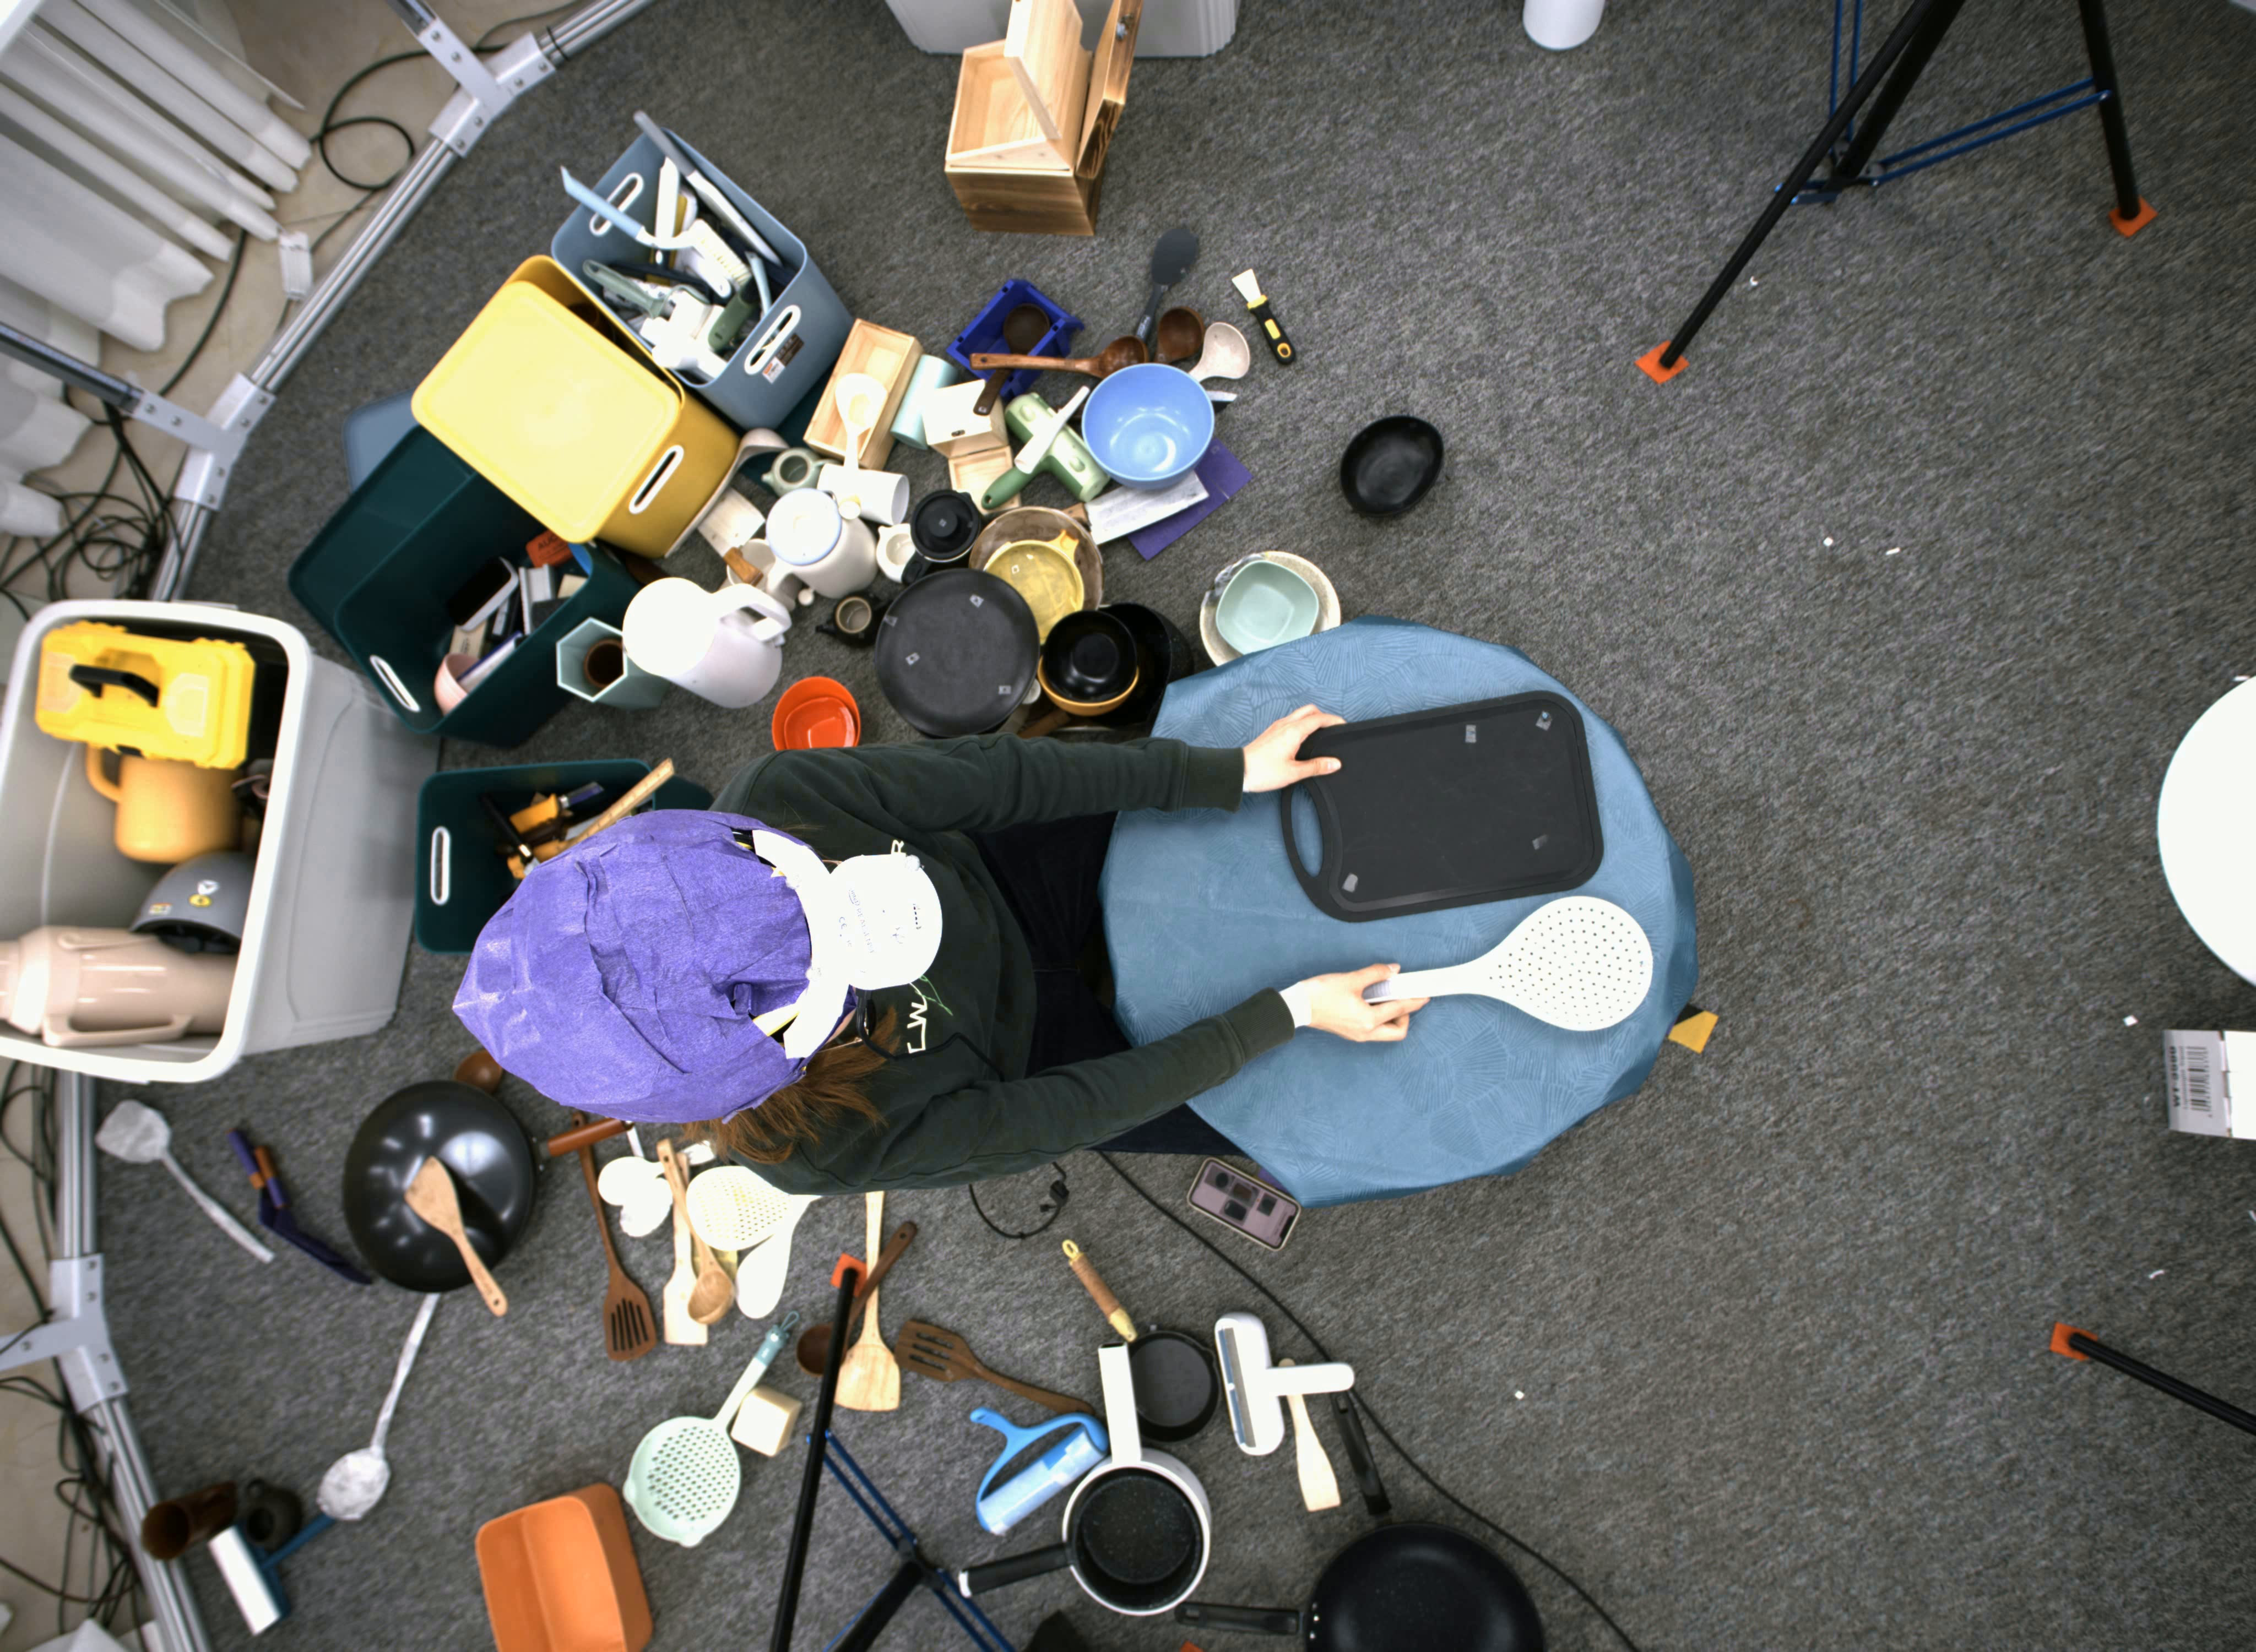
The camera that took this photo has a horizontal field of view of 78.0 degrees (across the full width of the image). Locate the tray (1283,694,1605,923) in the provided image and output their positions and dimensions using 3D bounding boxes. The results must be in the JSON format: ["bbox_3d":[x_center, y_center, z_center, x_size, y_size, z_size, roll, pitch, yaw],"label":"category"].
[{"bbox_3d":[0.326,-0.017,1.442,0.327,0.010,0.211,-9,92,9],"label":"tray"}]

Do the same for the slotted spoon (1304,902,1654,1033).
[{"bbox_3d":[0.356,0.157,1.416,0.351,0.046,0.134,-7,71,9],"label":"slotted spoon"}]
